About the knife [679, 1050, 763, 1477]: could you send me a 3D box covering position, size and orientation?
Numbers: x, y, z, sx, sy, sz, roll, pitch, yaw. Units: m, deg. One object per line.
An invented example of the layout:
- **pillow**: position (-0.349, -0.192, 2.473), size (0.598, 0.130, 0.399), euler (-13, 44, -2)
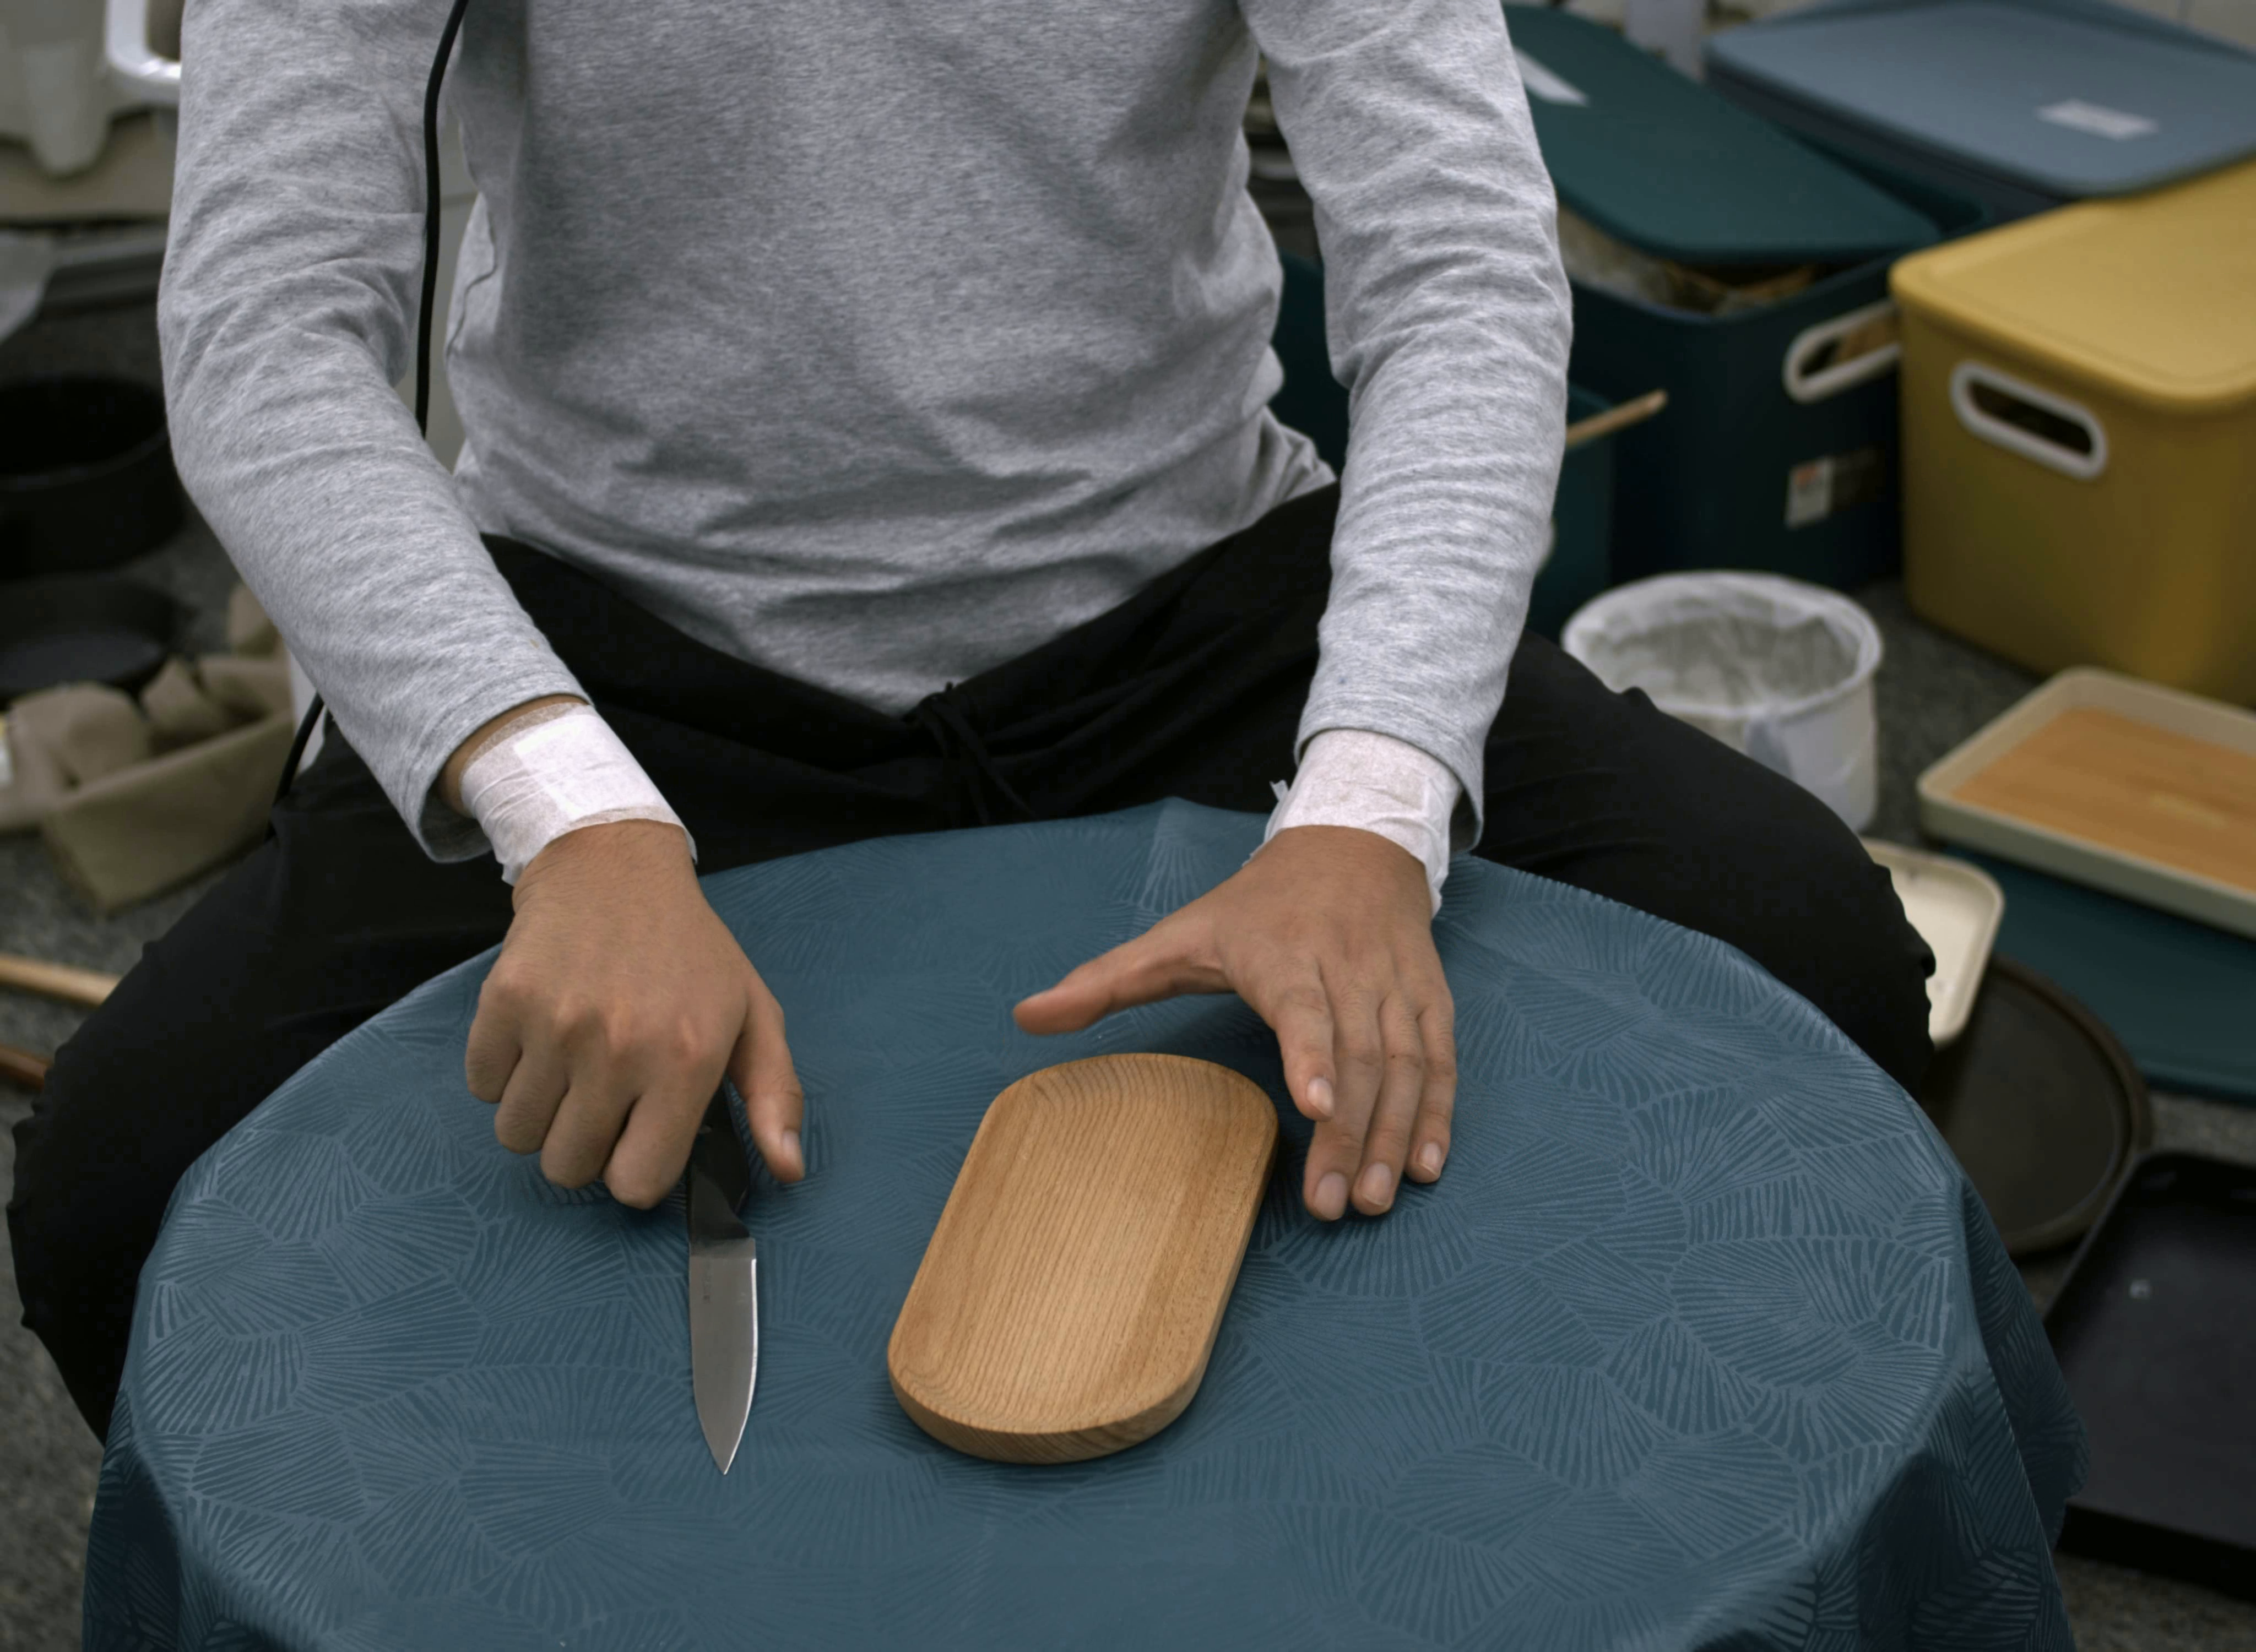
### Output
- **knife**: position (-0.134, 0.141, 1.825), size (0.024, 0.016, 0.241), euler (-5, 30, -4)

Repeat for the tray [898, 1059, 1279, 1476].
- **tray**: position (-0.010, 0.140, 1.811), size (0.101, 0.020, 0.235), euler (0, 29, 10)
